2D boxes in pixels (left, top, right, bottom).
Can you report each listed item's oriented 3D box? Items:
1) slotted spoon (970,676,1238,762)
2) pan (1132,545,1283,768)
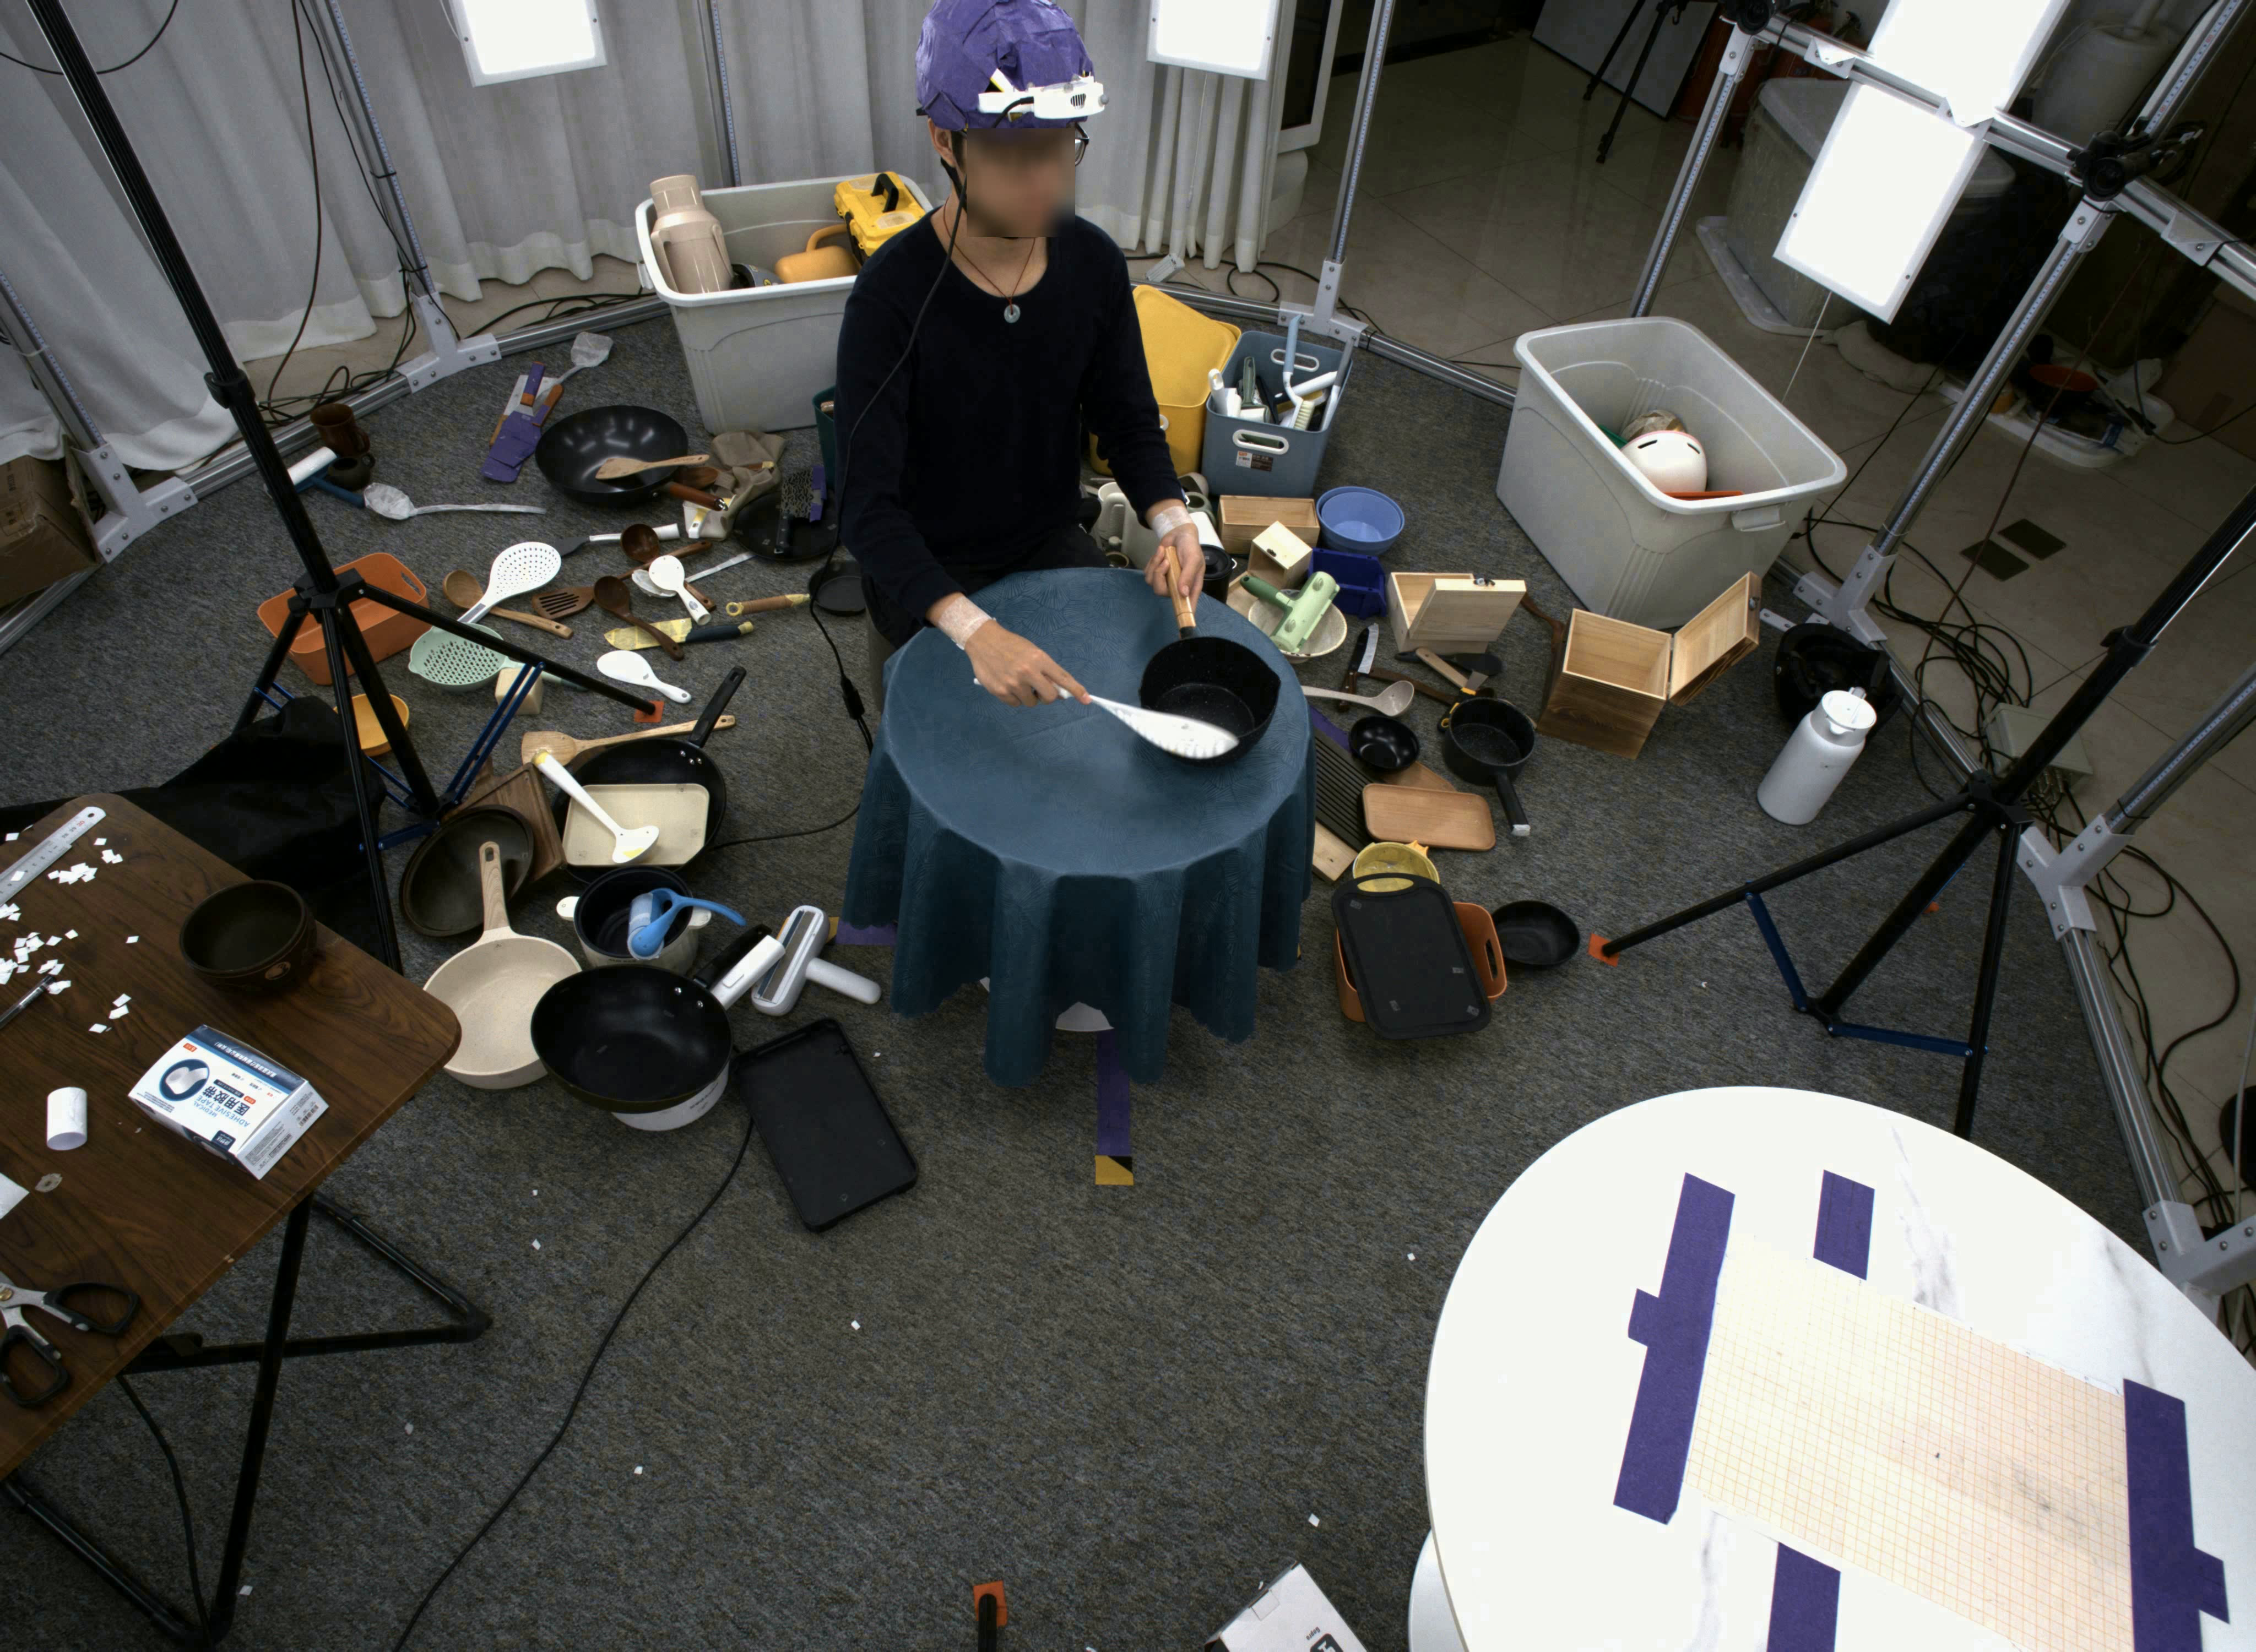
[{"bbox_3d":[-0.031,-0.145,1.621,0.349,0.136,0.050,22,93,7],"label":"slotted spoon"},{"bbox_3d":[0.089,-0.235,1.792,0.207,0.106,0.351,-9,57,-10],"label":"pan"}]
